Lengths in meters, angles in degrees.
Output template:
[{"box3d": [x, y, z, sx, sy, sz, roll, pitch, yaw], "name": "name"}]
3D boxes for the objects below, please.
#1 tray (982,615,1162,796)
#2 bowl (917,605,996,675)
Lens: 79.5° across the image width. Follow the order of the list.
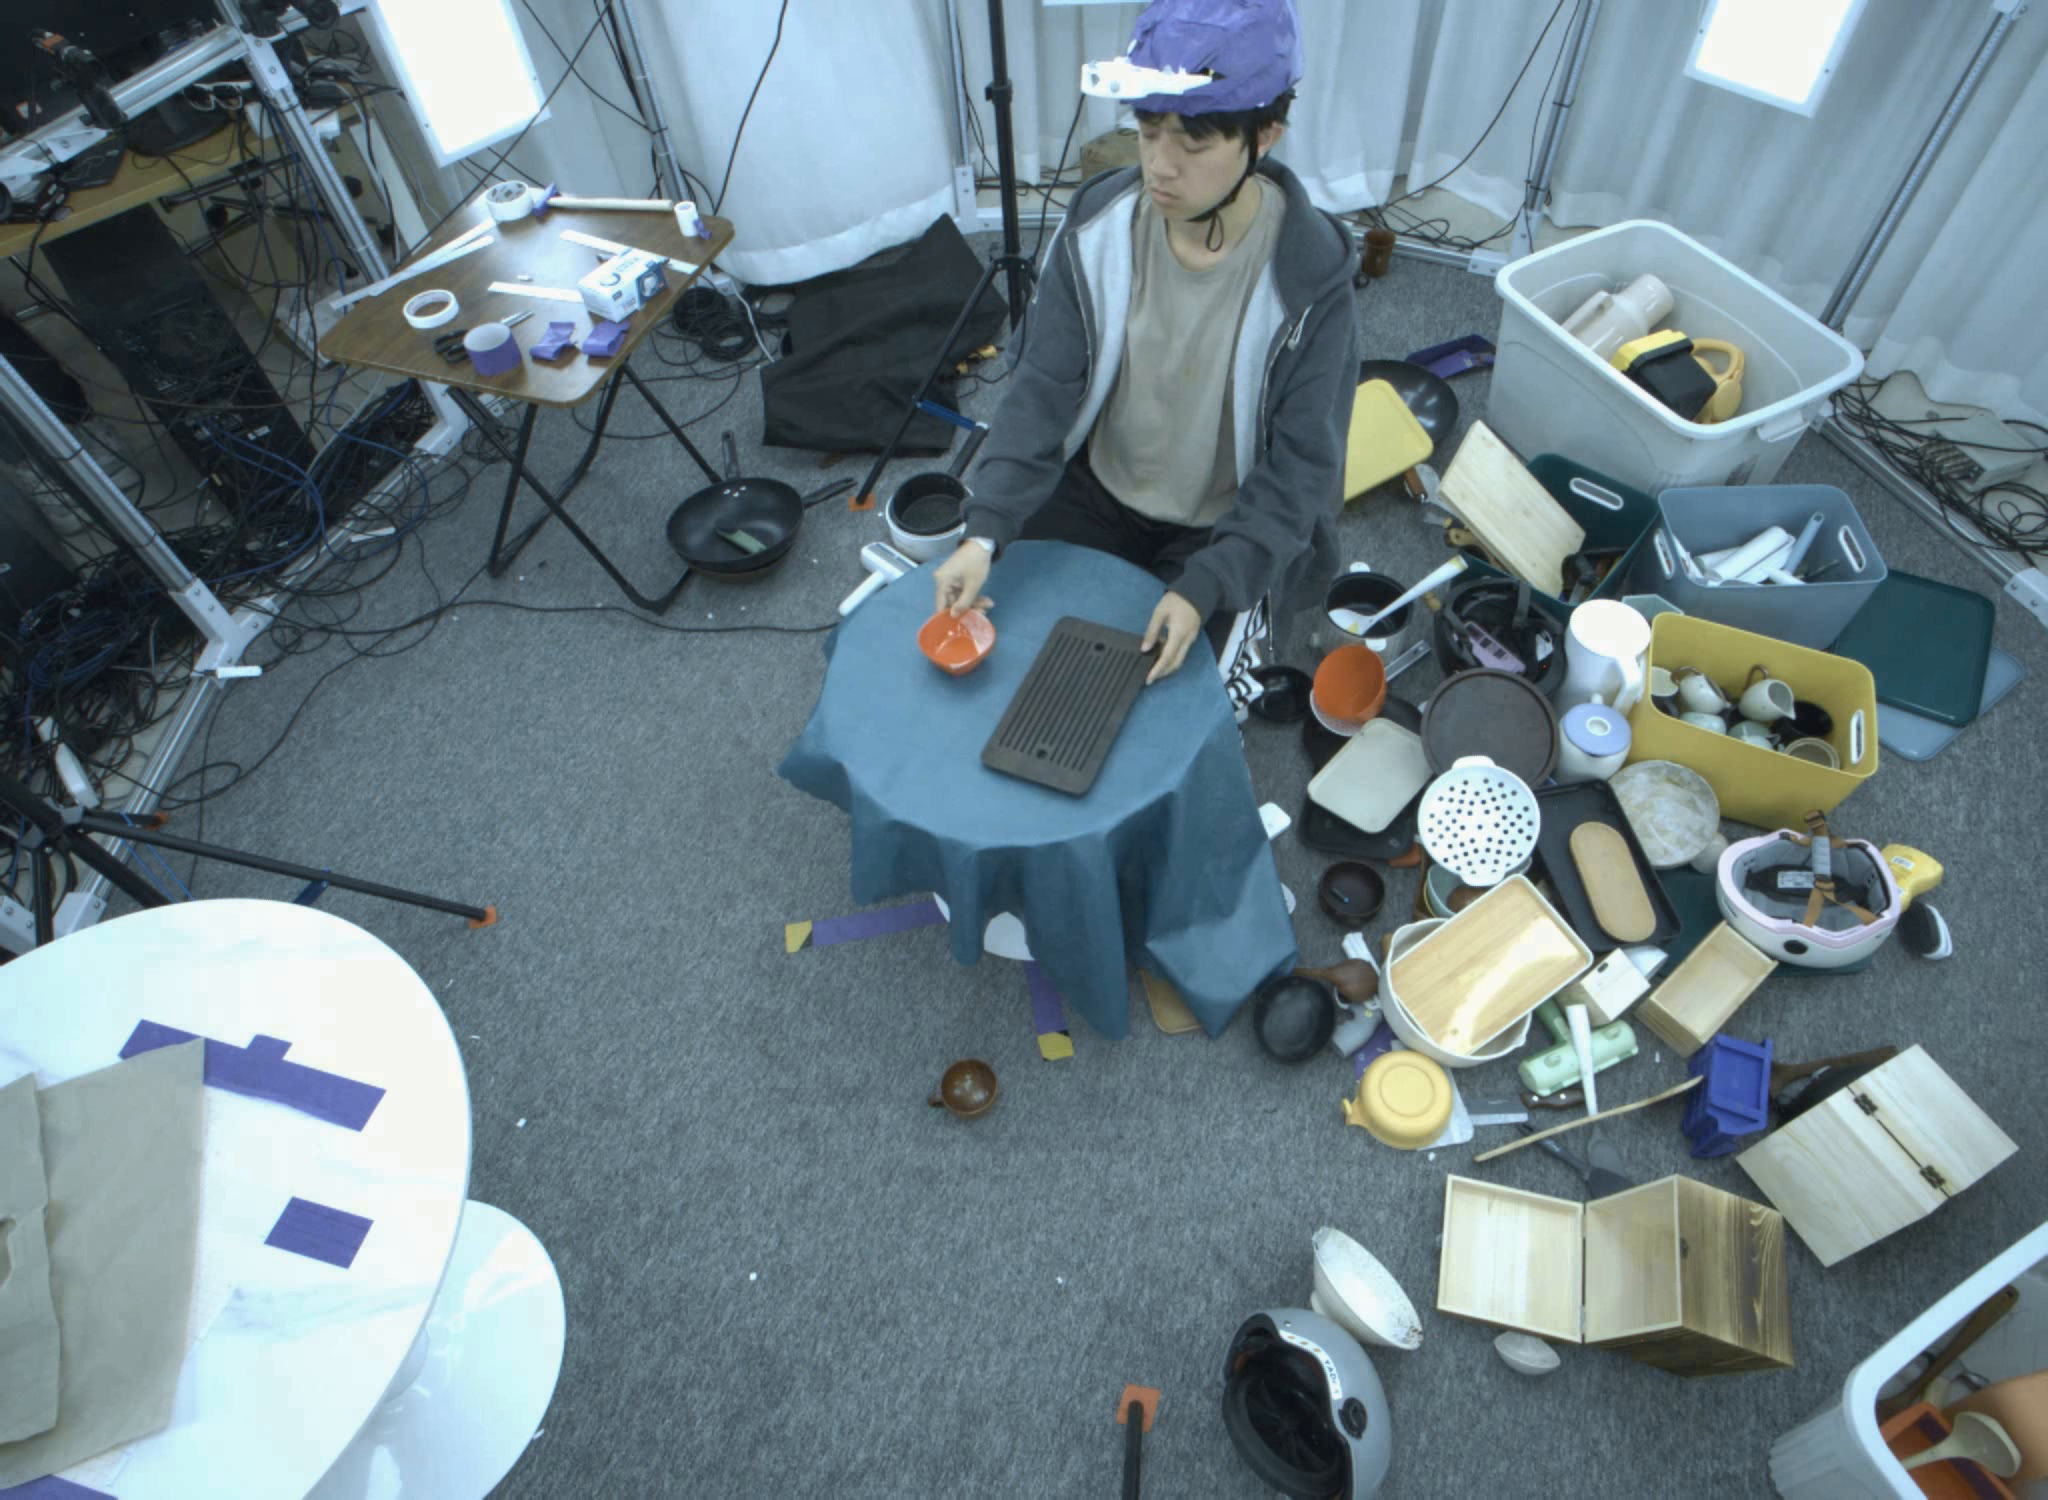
[{"box3d": [0.074, -0.070, 1.822, 0.168, 0.019, 0.306, 18, 57, 17], "name": "tray"}, {"box3d": [-0.100, -0.160, 1.867, 0.118, 0.052, 0.118, -2, 55, 3], "name": "bowl"}]
